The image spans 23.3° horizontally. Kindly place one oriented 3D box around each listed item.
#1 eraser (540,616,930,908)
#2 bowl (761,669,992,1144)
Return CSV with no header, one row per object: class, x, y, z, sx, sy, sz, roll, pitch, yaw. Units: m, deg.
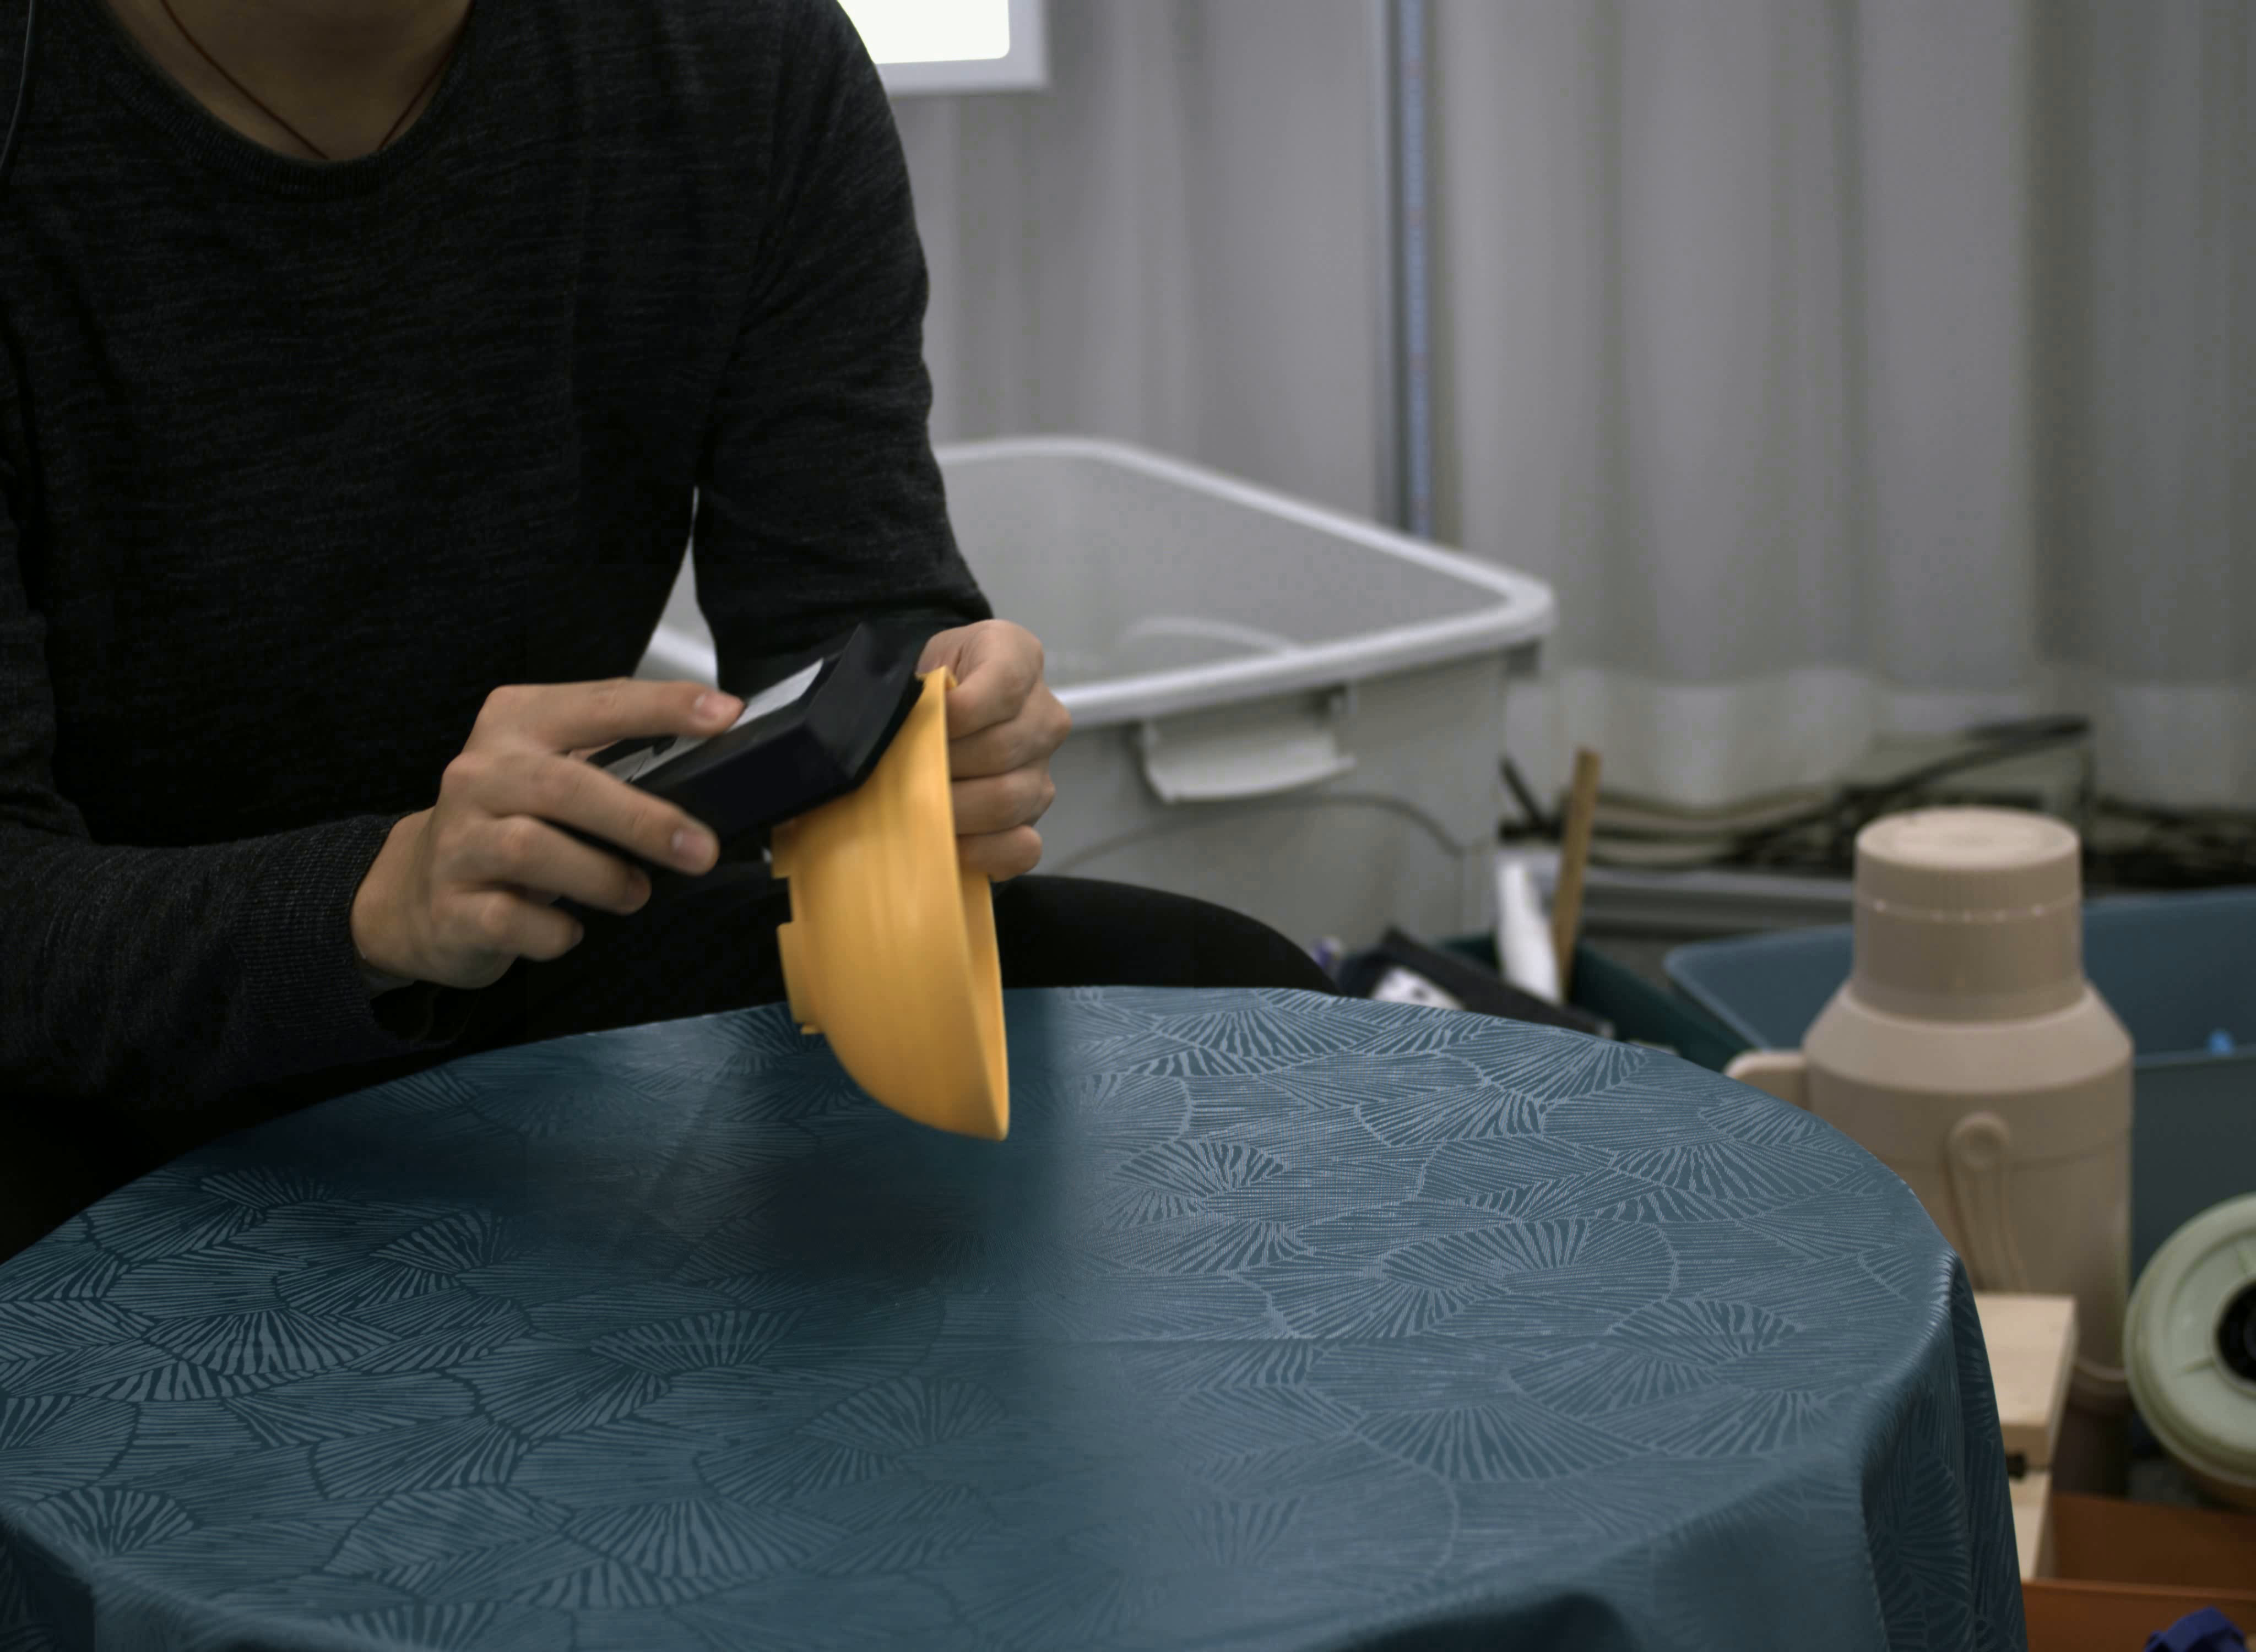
eraser,-0.117,-0.019,1.631,0.125,0.030,0.054,-26,20,35
bowl,-0.077,0.027,1.652,0.060,0.145,0.146,-7,14,1
